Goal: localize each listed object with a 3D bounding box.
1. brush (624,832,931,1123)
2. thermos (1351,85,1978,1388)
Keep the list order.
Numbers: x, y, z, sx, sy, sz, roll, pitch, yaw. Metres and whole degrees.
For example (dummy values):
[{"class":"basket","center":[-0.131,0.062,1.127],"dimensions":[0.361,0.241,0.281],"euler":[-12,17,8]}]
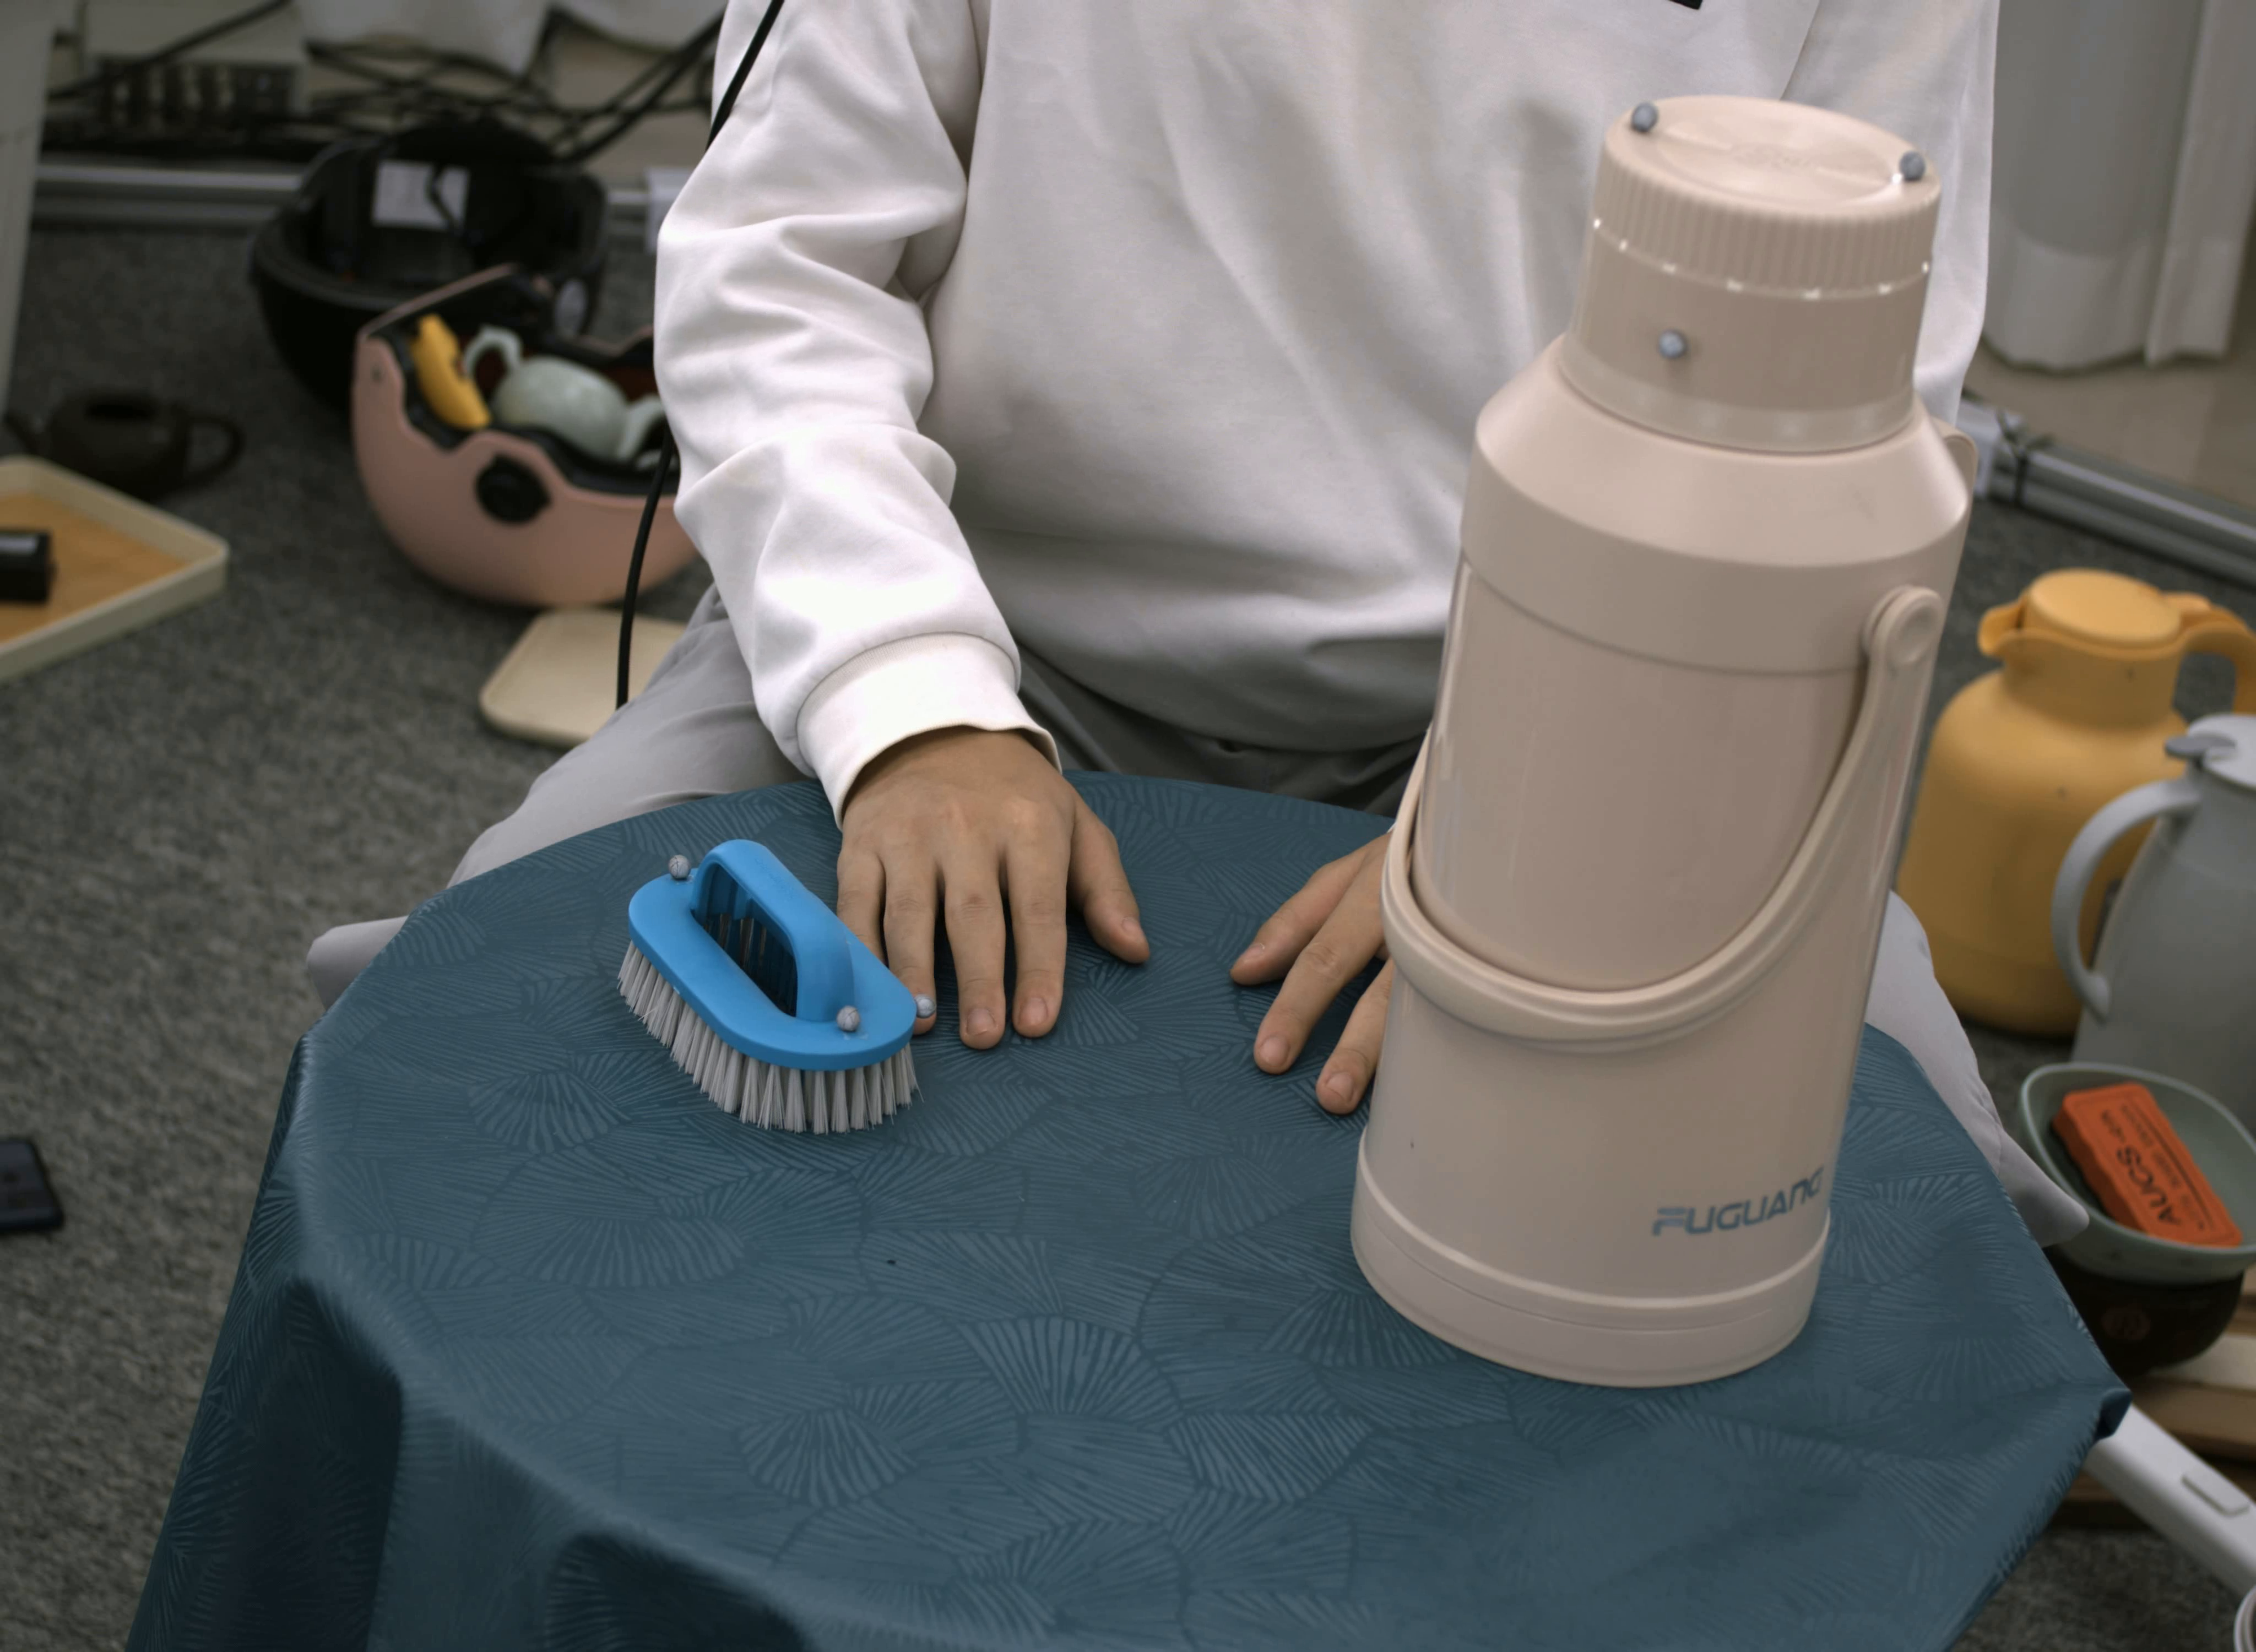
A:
[{"class":"brush","center":[-0.124,0.044,1.861],"dimensions":[0.084,0.063,0.143],"euler":[-12,31,-24]},{"class":"thermos","center":[0.187,-0.031,1.718],"dimensions":[0.206,0.405,0.177],"euler":[-16,33,-39]}]
